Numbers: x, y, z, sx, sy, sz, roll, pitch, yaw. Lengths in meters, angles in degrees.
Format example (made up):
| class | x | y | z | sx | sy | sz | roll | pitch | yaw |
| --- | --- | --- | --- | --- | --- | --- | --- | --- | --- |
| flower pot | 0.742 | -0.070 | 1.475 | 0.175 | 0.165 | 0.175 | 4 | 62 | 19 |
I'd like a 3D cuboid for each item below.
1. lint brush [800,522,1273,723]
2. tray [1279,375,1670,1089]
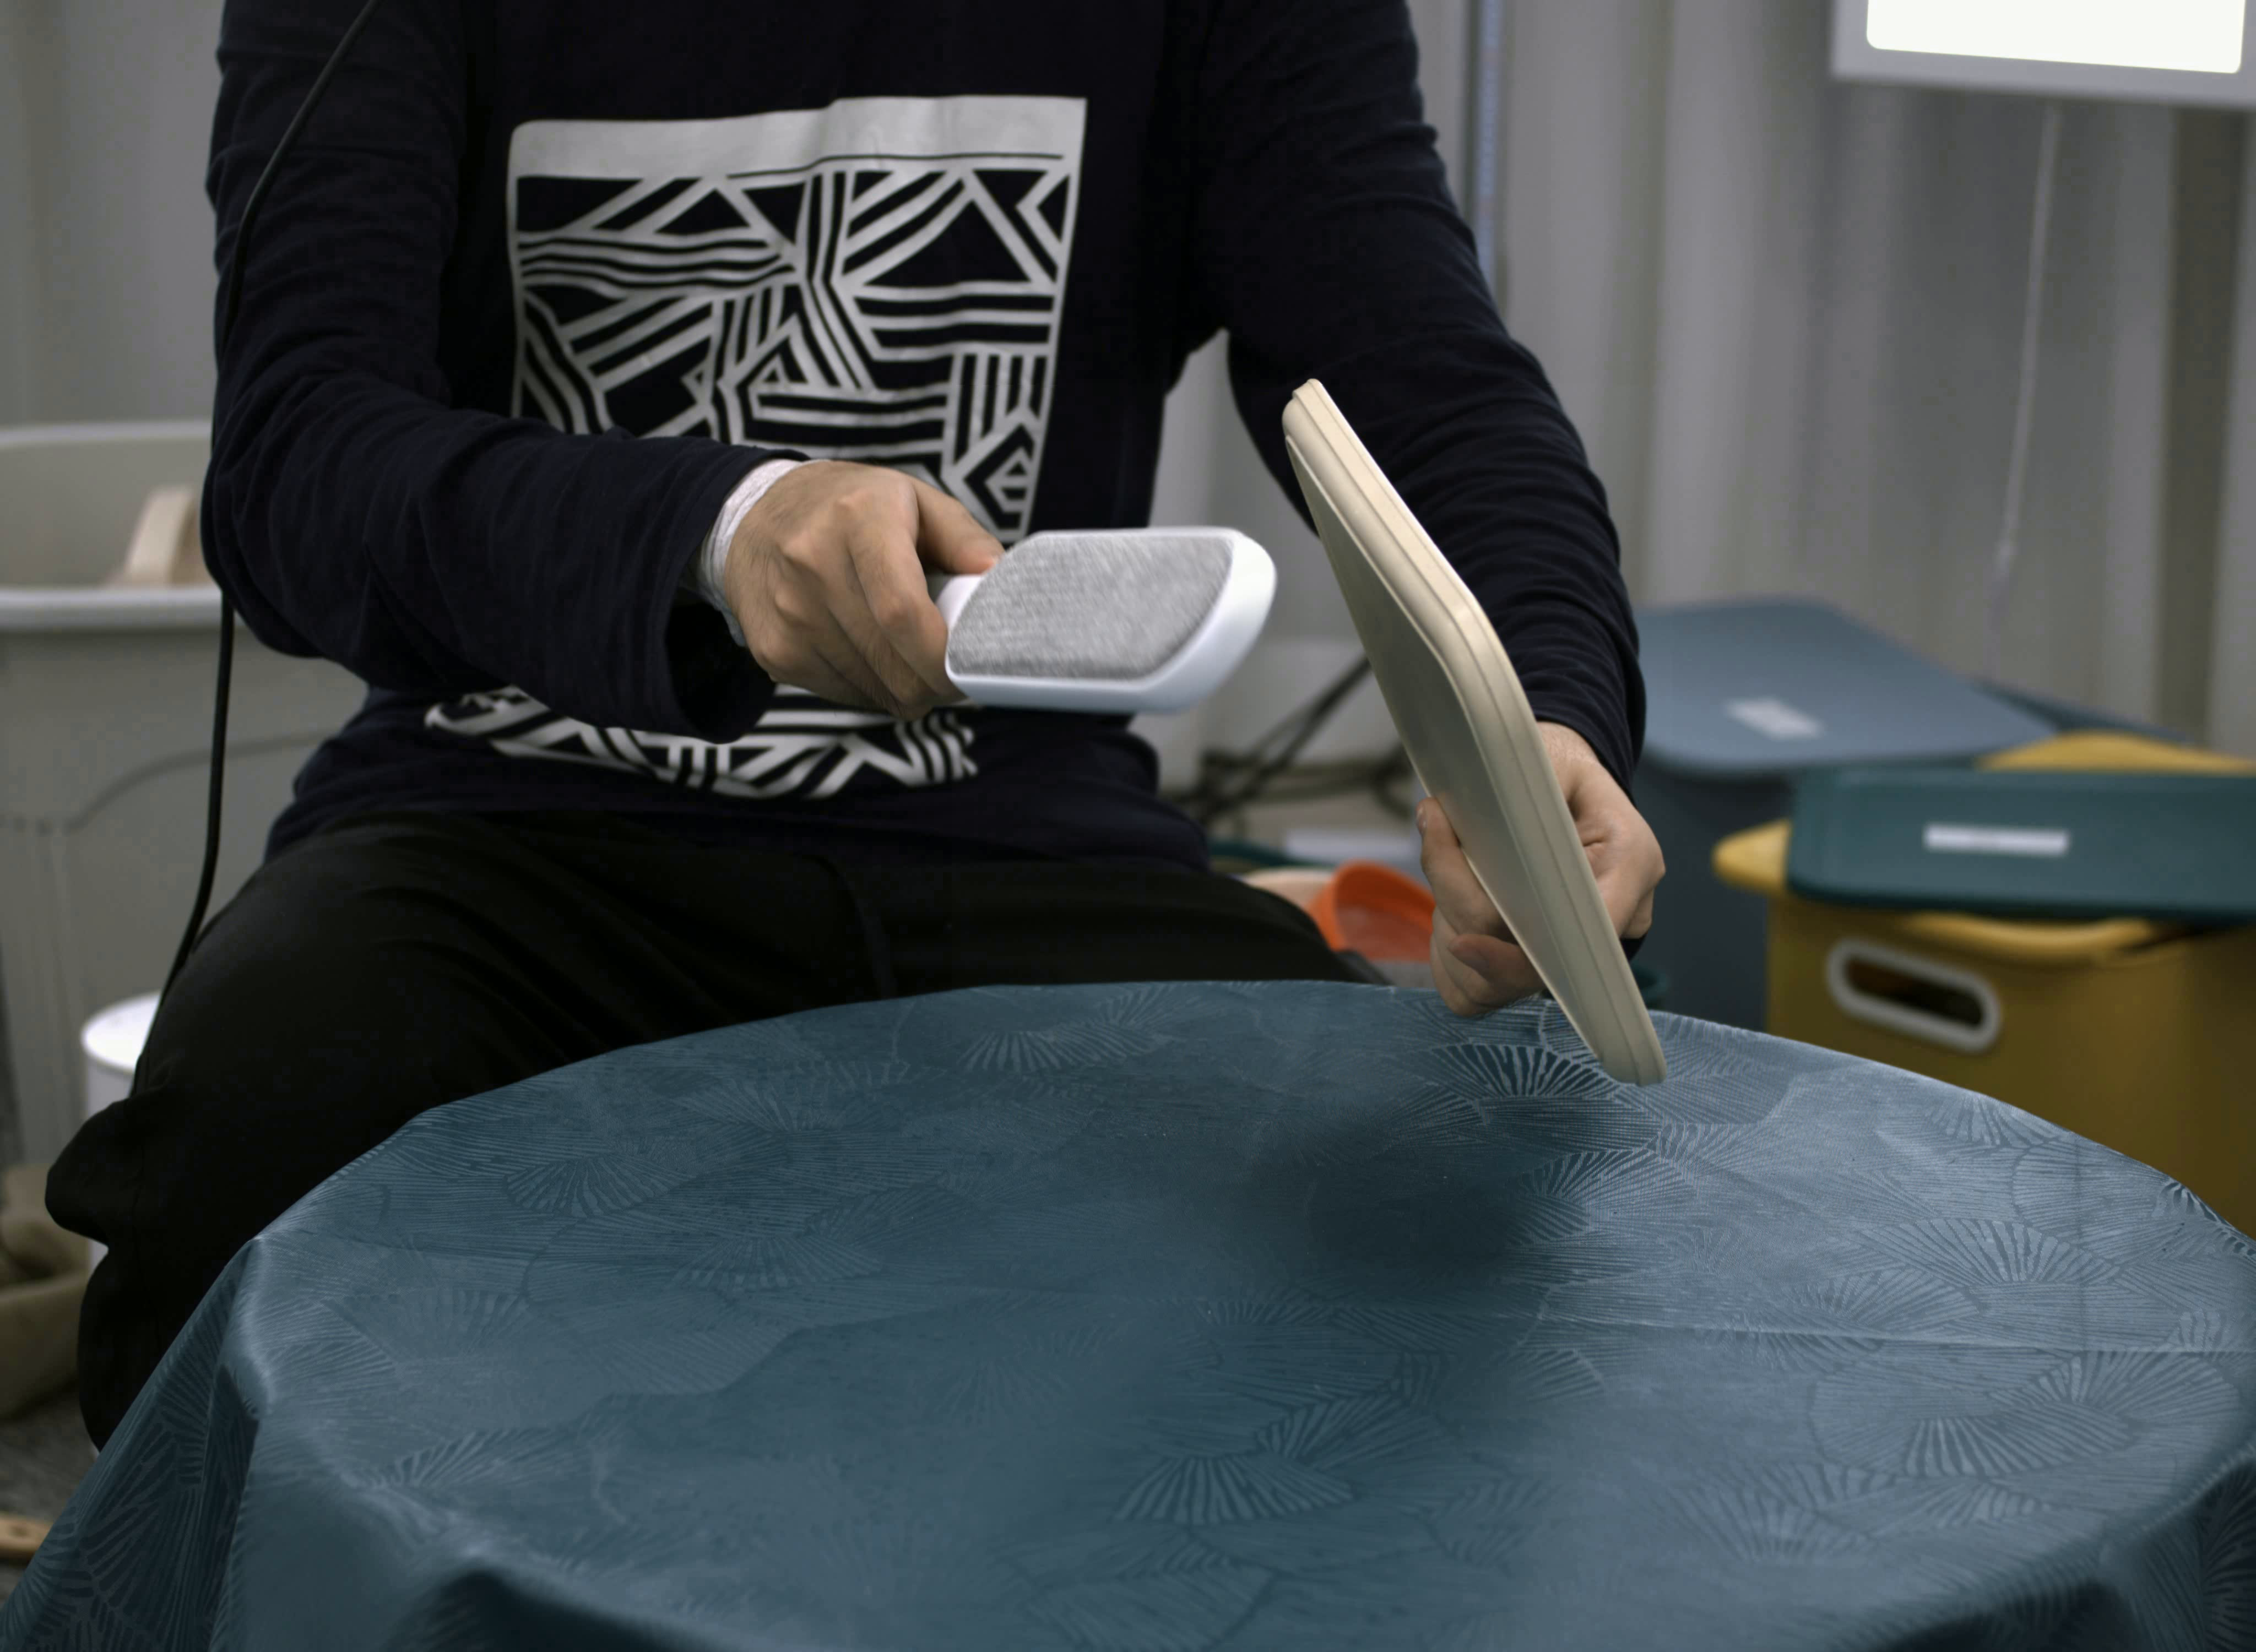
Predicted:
| class | x | y | z | sx | sy | sz | roll | pitch | yaw |
| --- | --- | --- | --- | --- | --- | --- | --- | --- | --- |
| lint brush | -0.034 | -0.064 | 1.601 | 0.021 | 0.060 | 0.306 | 29 | -10 | -24 |
| tray | 0.101 | -0.030 | 1.597 | 0.017 | 0.173 | 0.237 | -25 | 28 | -2 |
